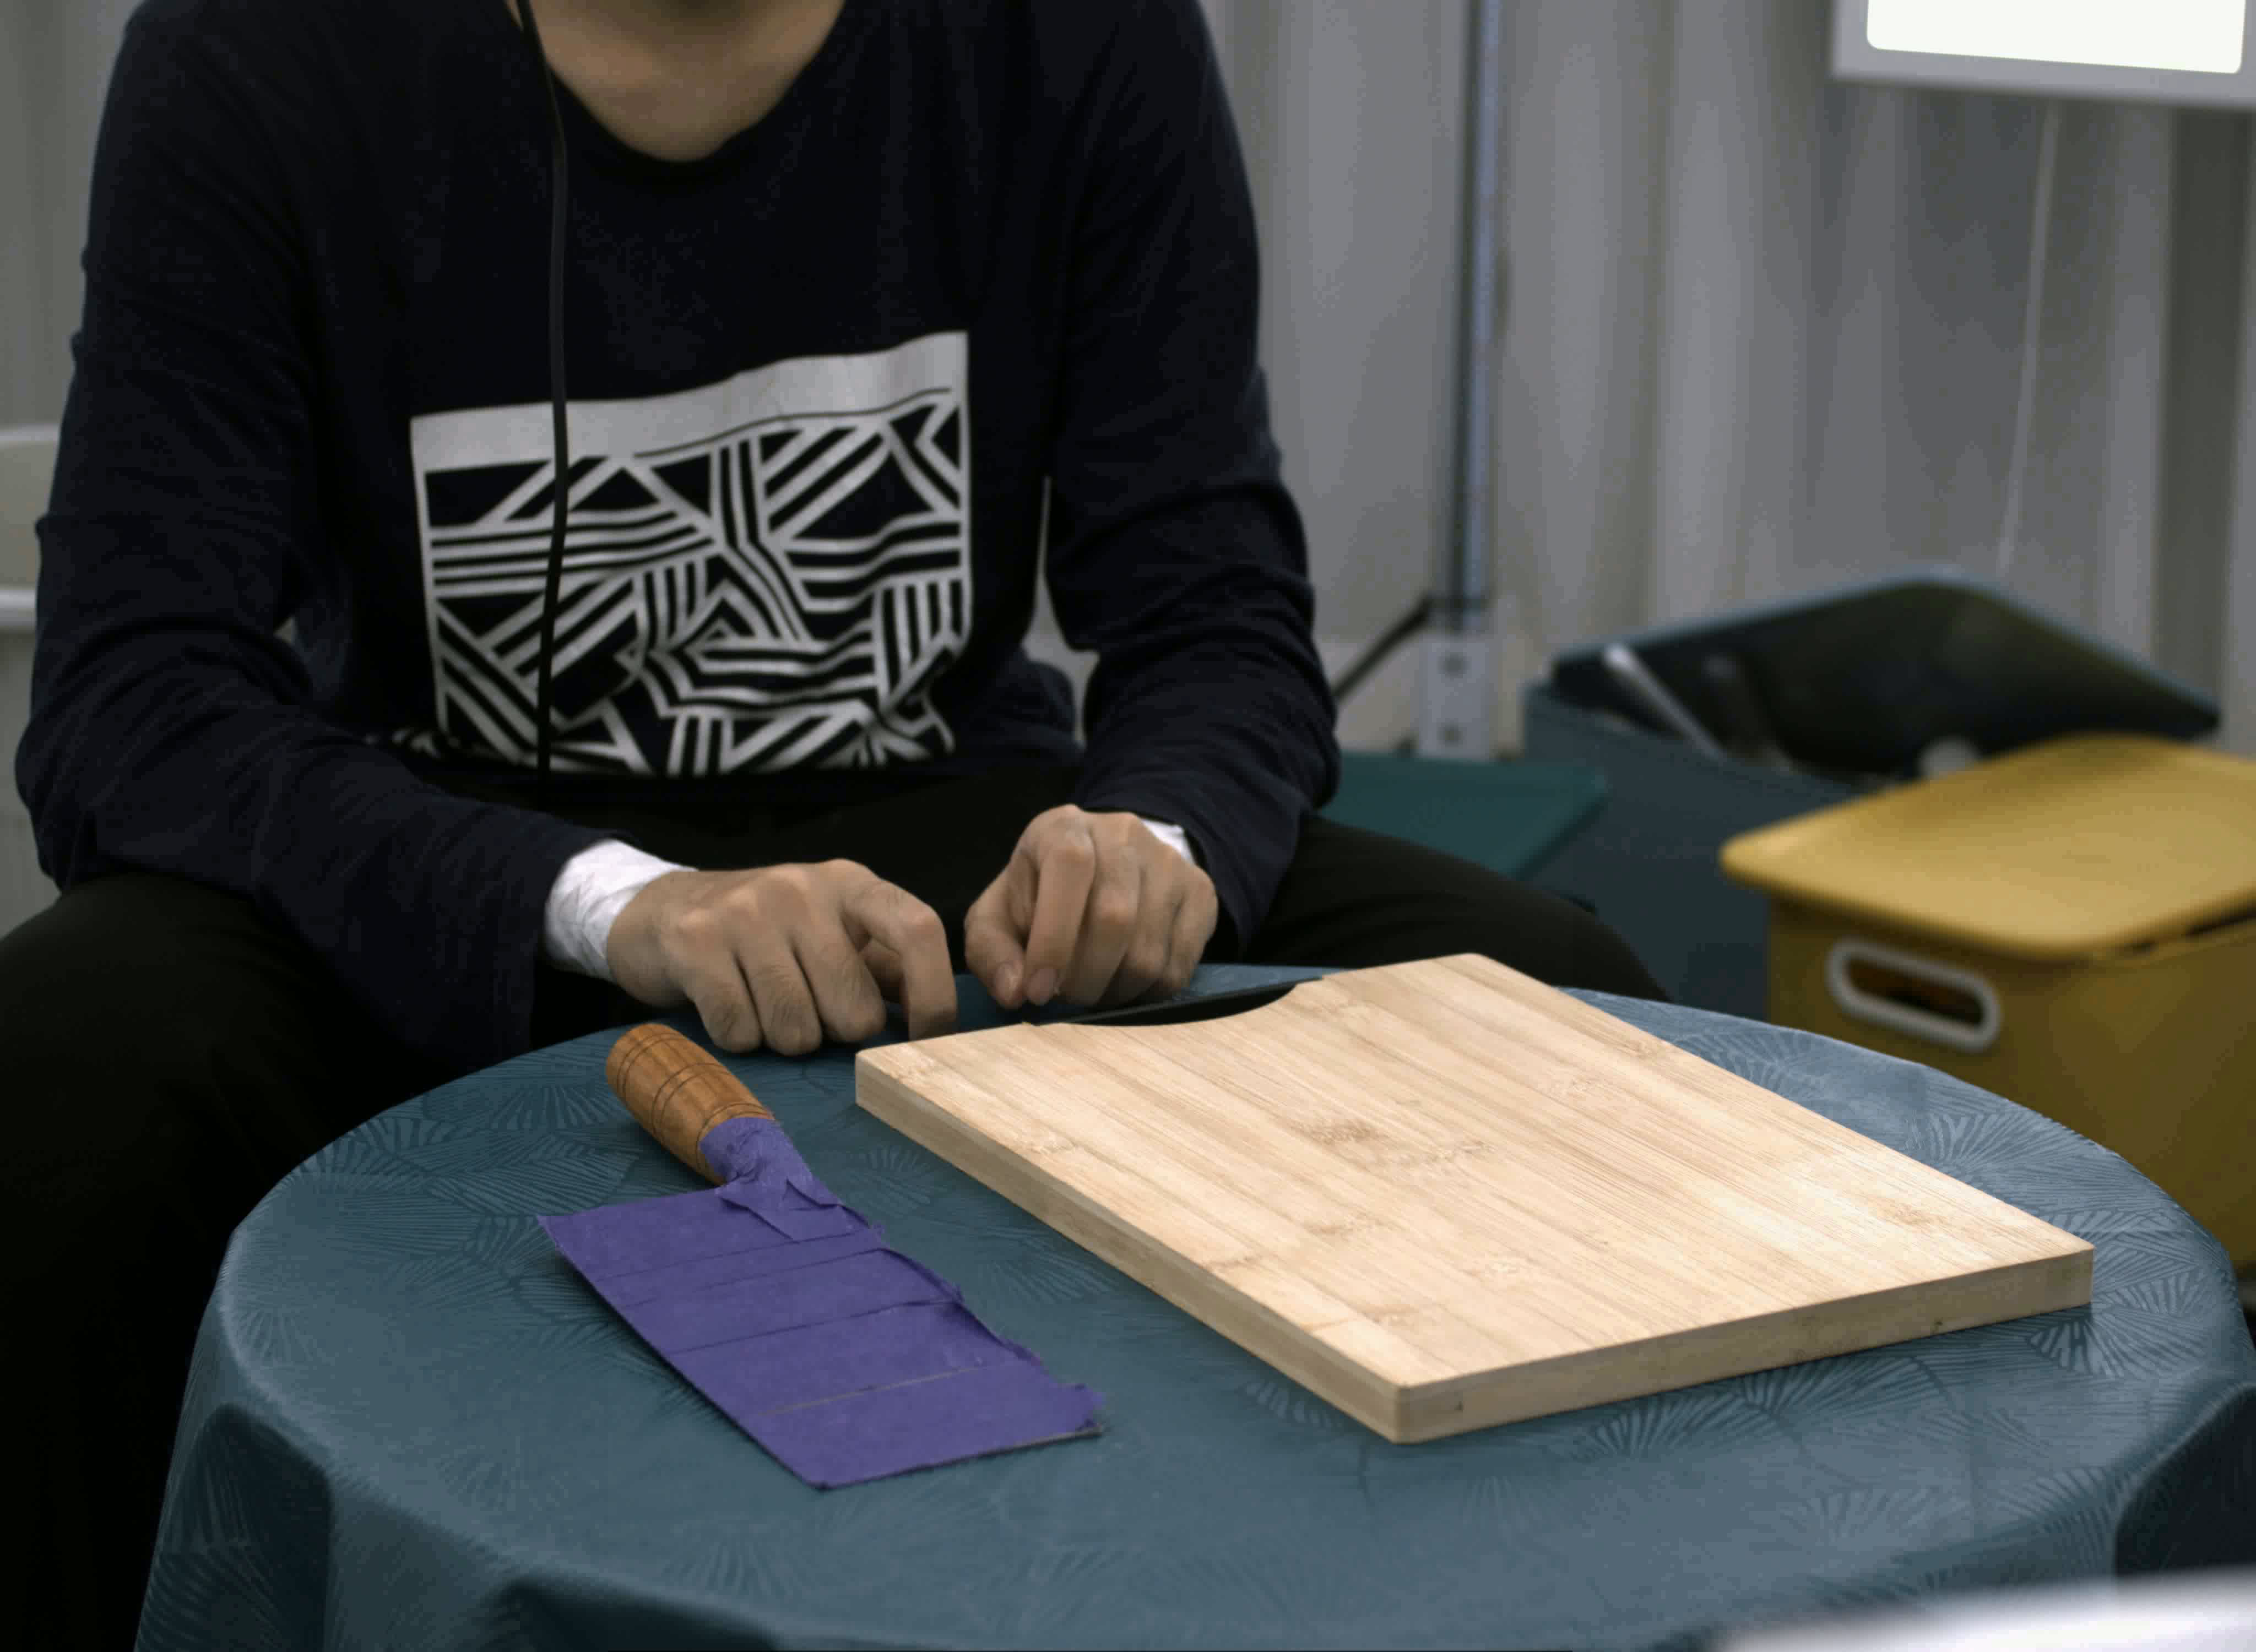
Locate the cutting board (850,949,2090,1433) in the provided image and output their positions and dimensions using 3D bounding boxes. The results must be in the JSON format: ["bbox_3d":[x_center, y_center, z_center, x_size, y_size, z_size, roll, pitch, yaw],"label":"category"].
[{"bbox_3d":[0.095,0.105,1.624,0.252,0.024,0.344,-8,17,-29],"label":"cutting board"}]

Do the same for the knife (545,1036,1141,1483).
[{"bbox_3d":[-0.112,0.122,1.536,0.104,0.032,0.311,-7,18,-27],"label":"knife"}]
